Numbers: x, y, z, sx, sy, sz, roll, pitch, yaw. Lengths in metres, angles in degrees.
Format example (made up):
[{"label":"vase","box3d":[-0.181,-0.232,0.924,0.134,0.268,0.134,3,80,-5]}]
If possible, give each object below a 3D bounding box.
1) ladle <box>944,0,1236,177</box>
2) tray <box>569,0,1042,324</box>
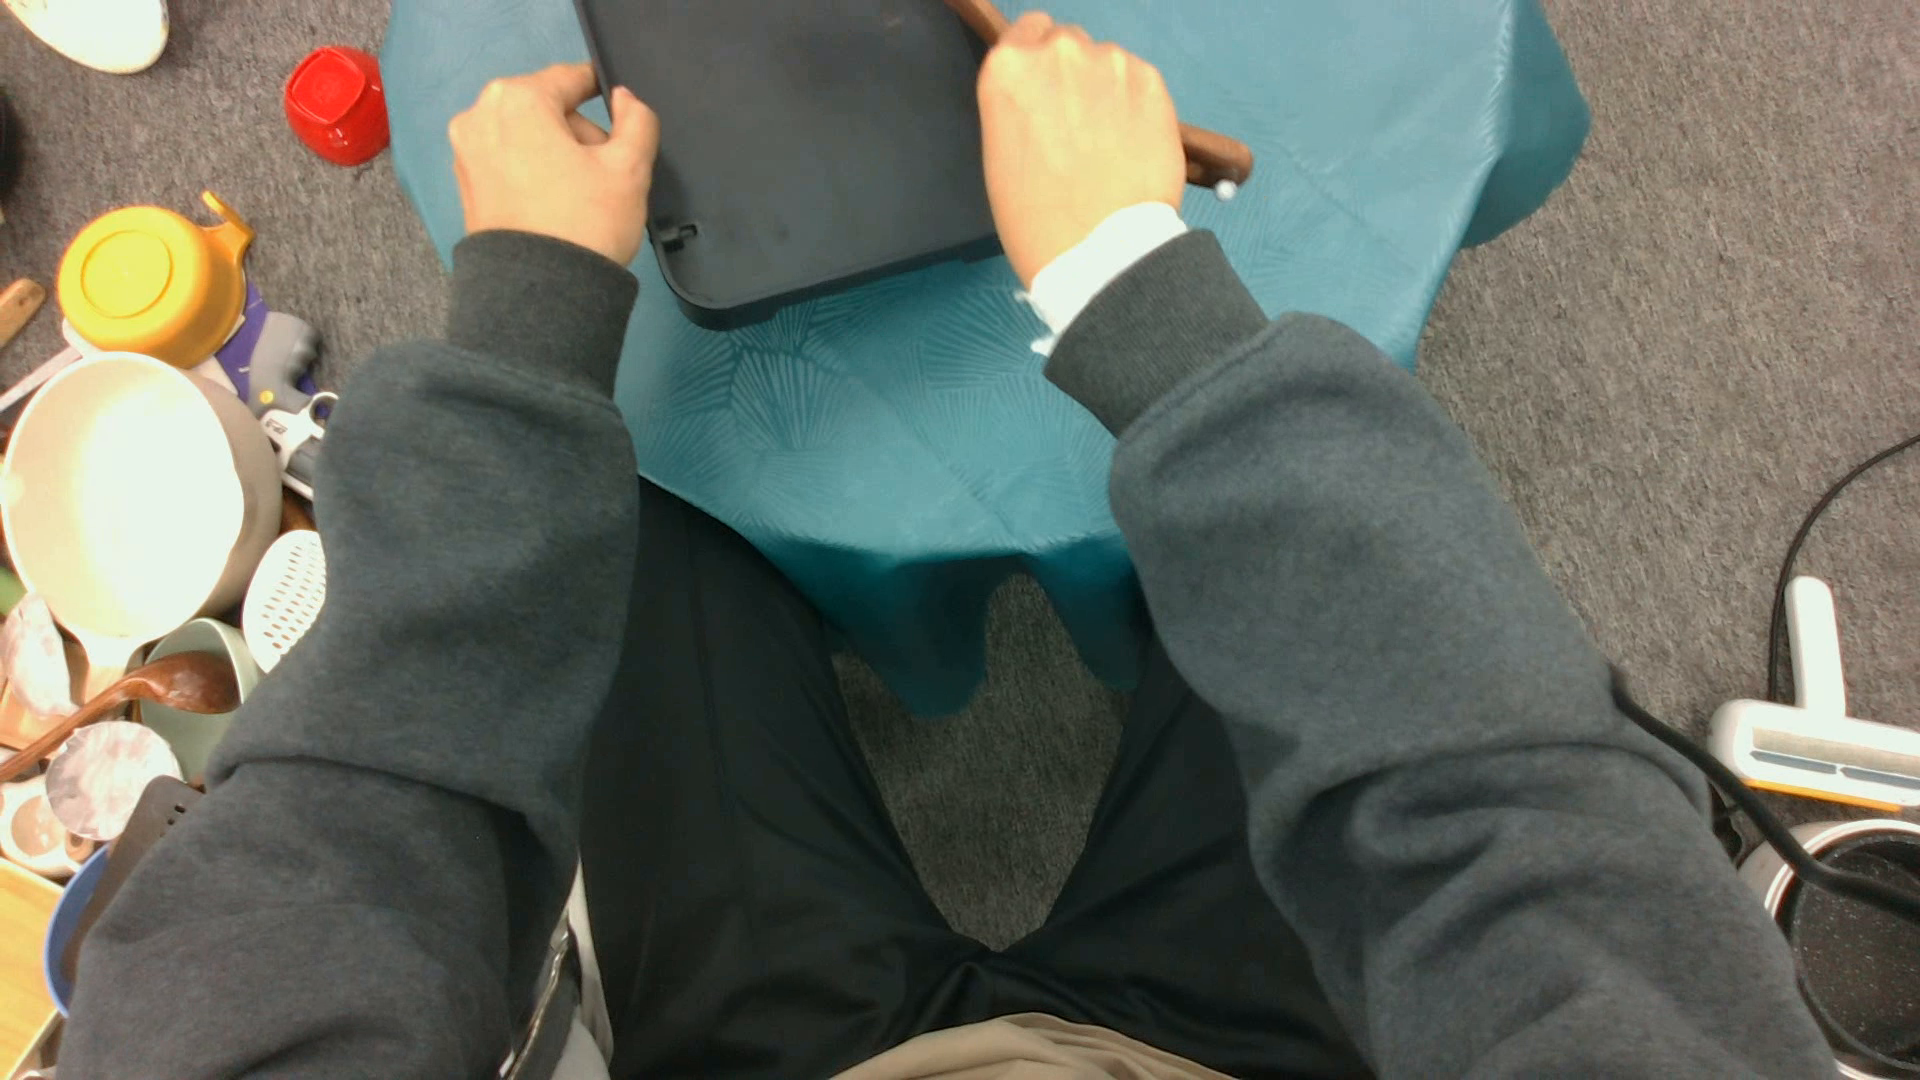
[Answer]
[{"label":"ladle","box3d":[-0.003,-0.217,0.586,0.260,0.076,0.065,39,75,10]},{"label":"tray","box3d":[-0.096,-0.268,0.663,0.184,0.037,0.318,-18,78,-12]}]
